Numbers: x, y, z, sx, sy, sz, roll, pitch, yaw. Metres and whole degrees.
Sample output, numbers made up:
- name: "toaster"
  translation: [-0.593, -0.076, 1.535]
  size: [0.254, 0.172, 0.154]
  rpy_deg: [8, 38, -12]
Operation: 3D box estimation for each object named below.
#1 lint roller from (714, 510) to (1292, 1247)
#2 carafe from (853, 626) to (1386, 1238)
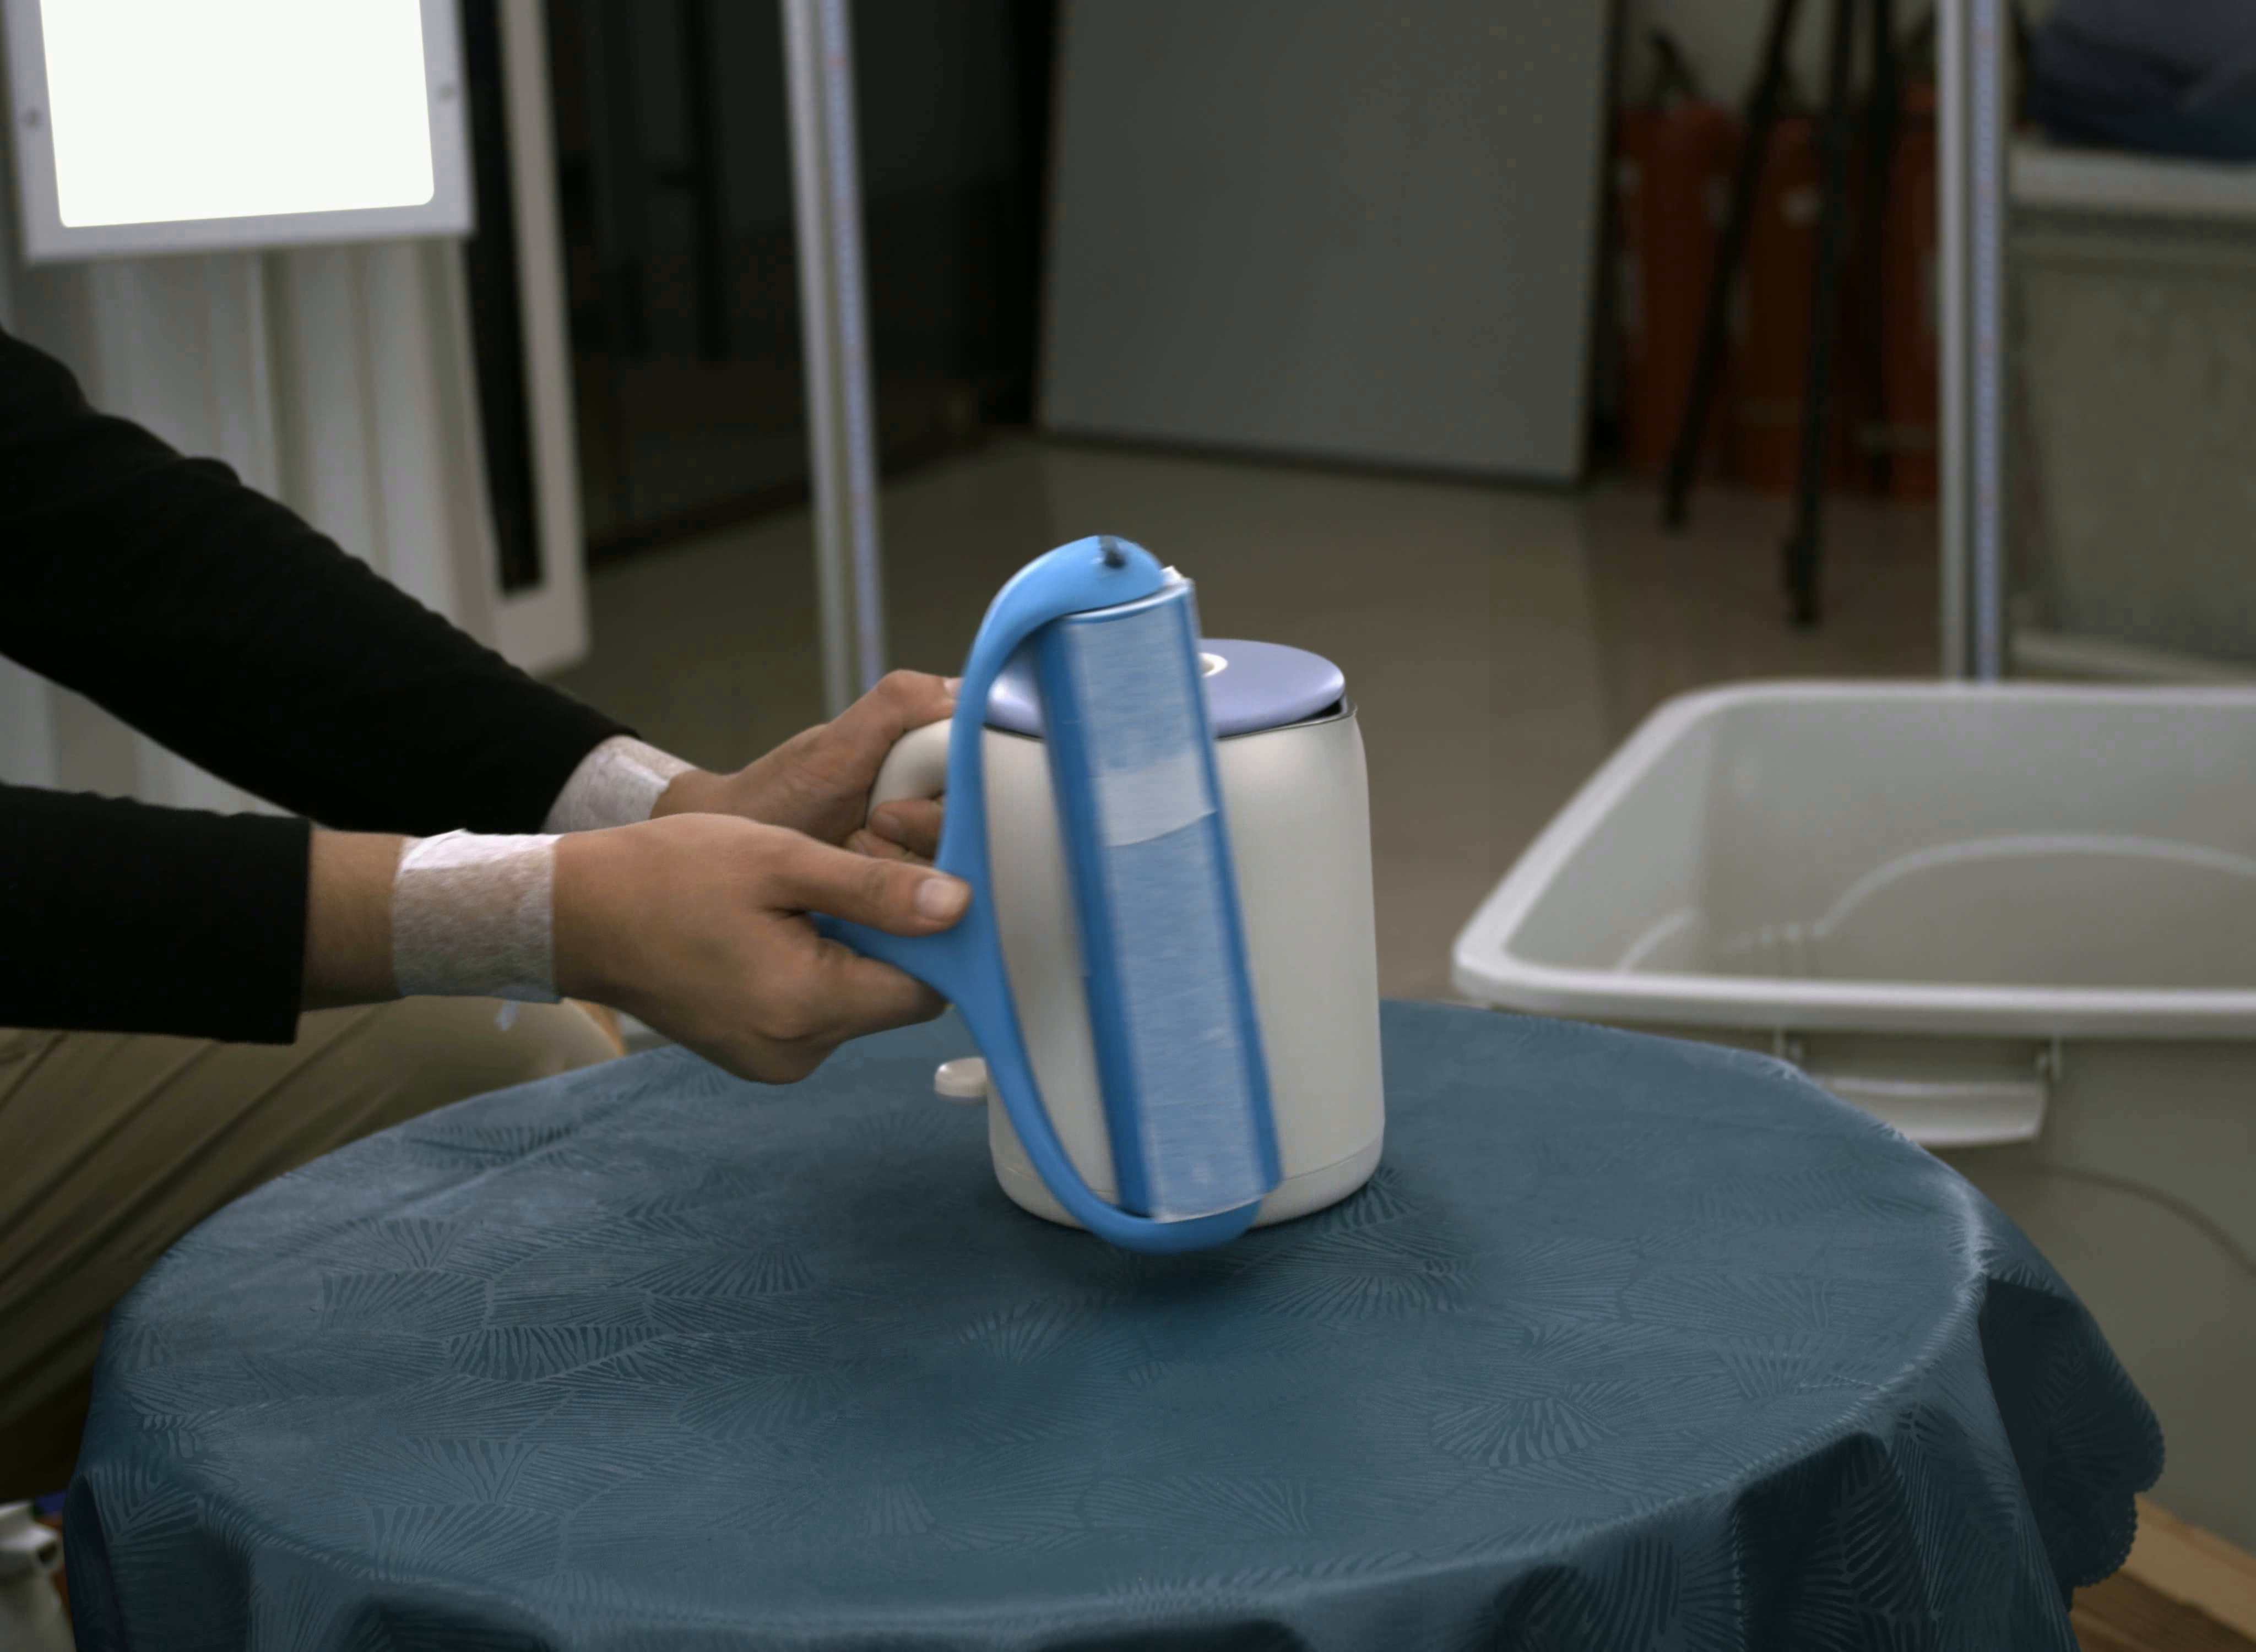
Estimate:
- name: "lint roller"
  translation: [-0.047, 0.027, 1.673]
  size: [0.179, 0.231, 0.067]
  rpy_deg: [-9, 13, 12]
- name: "carafe"
  translation: [-0.006, 0.033, 1.768]
  size: [0.191, 0.184, 0.130]
  rpy_deg: [1, 13, 28]
